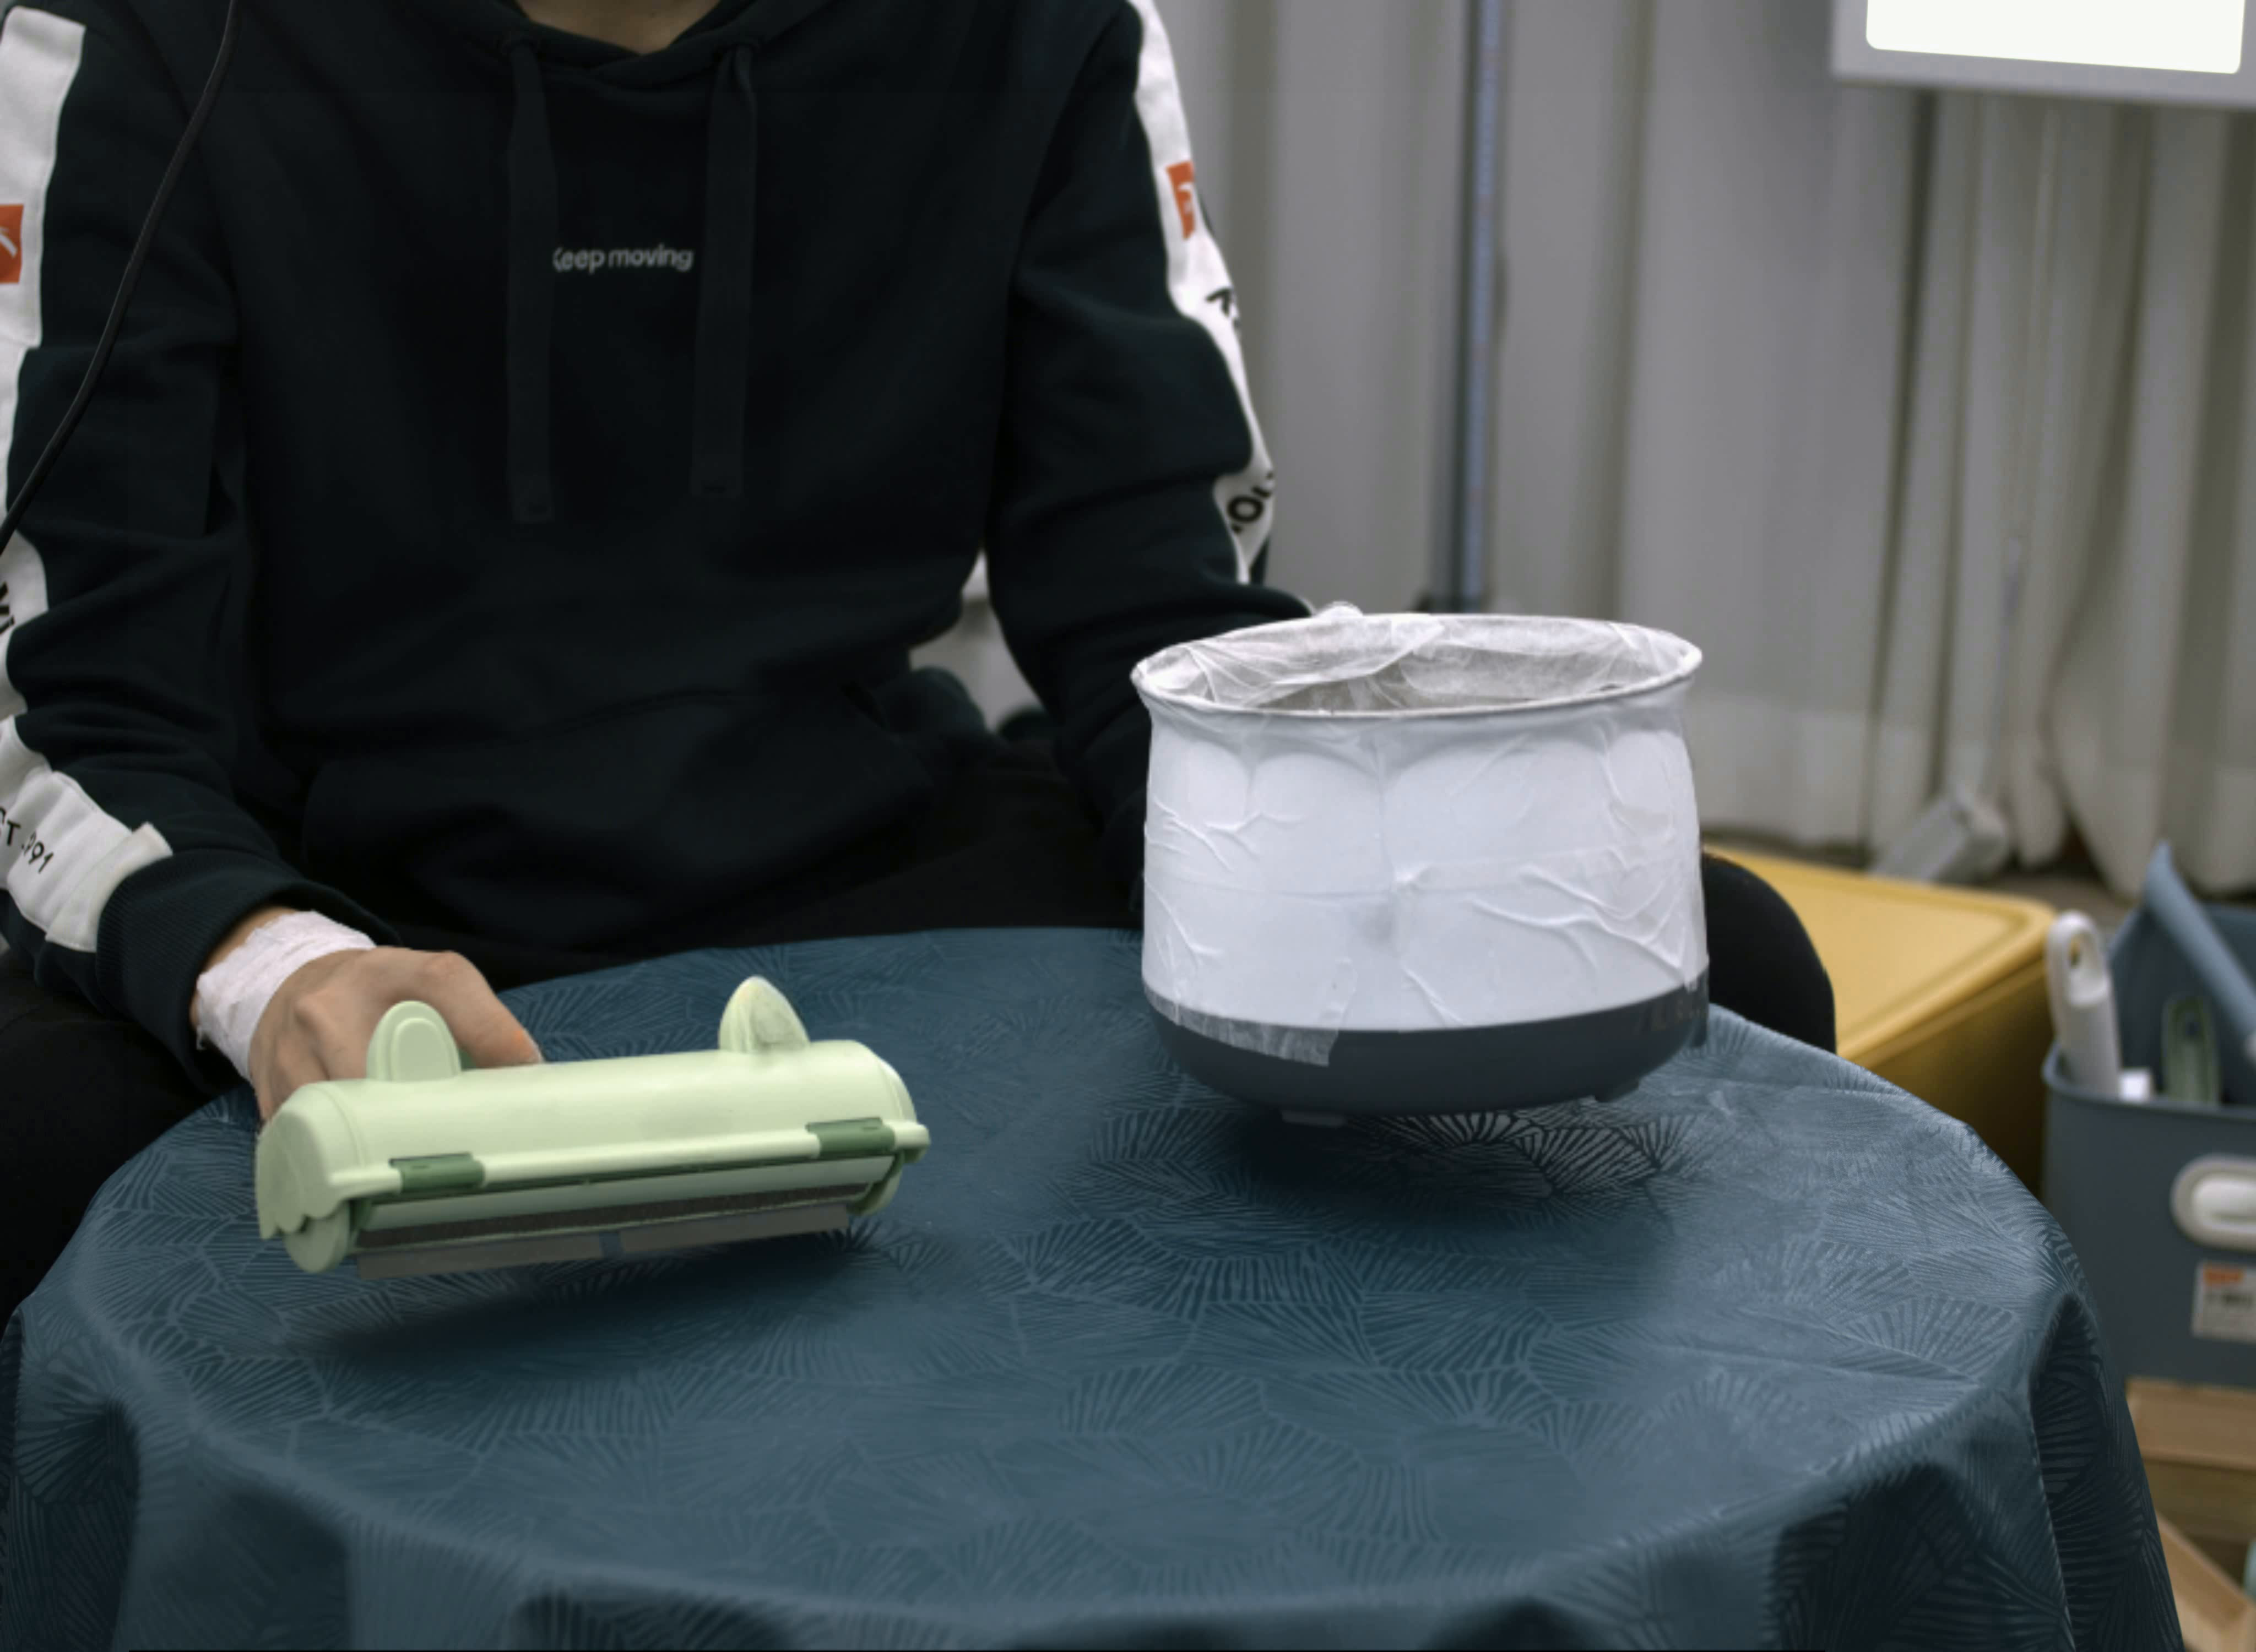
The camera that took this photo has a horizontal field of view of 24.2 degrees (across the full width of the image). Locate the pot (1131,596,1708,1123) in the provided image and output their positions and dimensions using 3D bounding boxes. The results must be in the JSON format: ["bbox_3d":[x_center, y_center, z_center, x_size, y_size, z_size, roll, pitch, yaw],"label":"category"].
[{"bbox_3d":[0.085,0.005,1.662,0.179,0.137,0.232,-4,12,-12],"label":"pot"}]

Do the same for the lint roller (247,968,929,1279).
[{"bbox_3d":[-0.184,0.072,1.560,0.200,0.083,0.181,-4,18,-34],"label":"lint roller"}]
